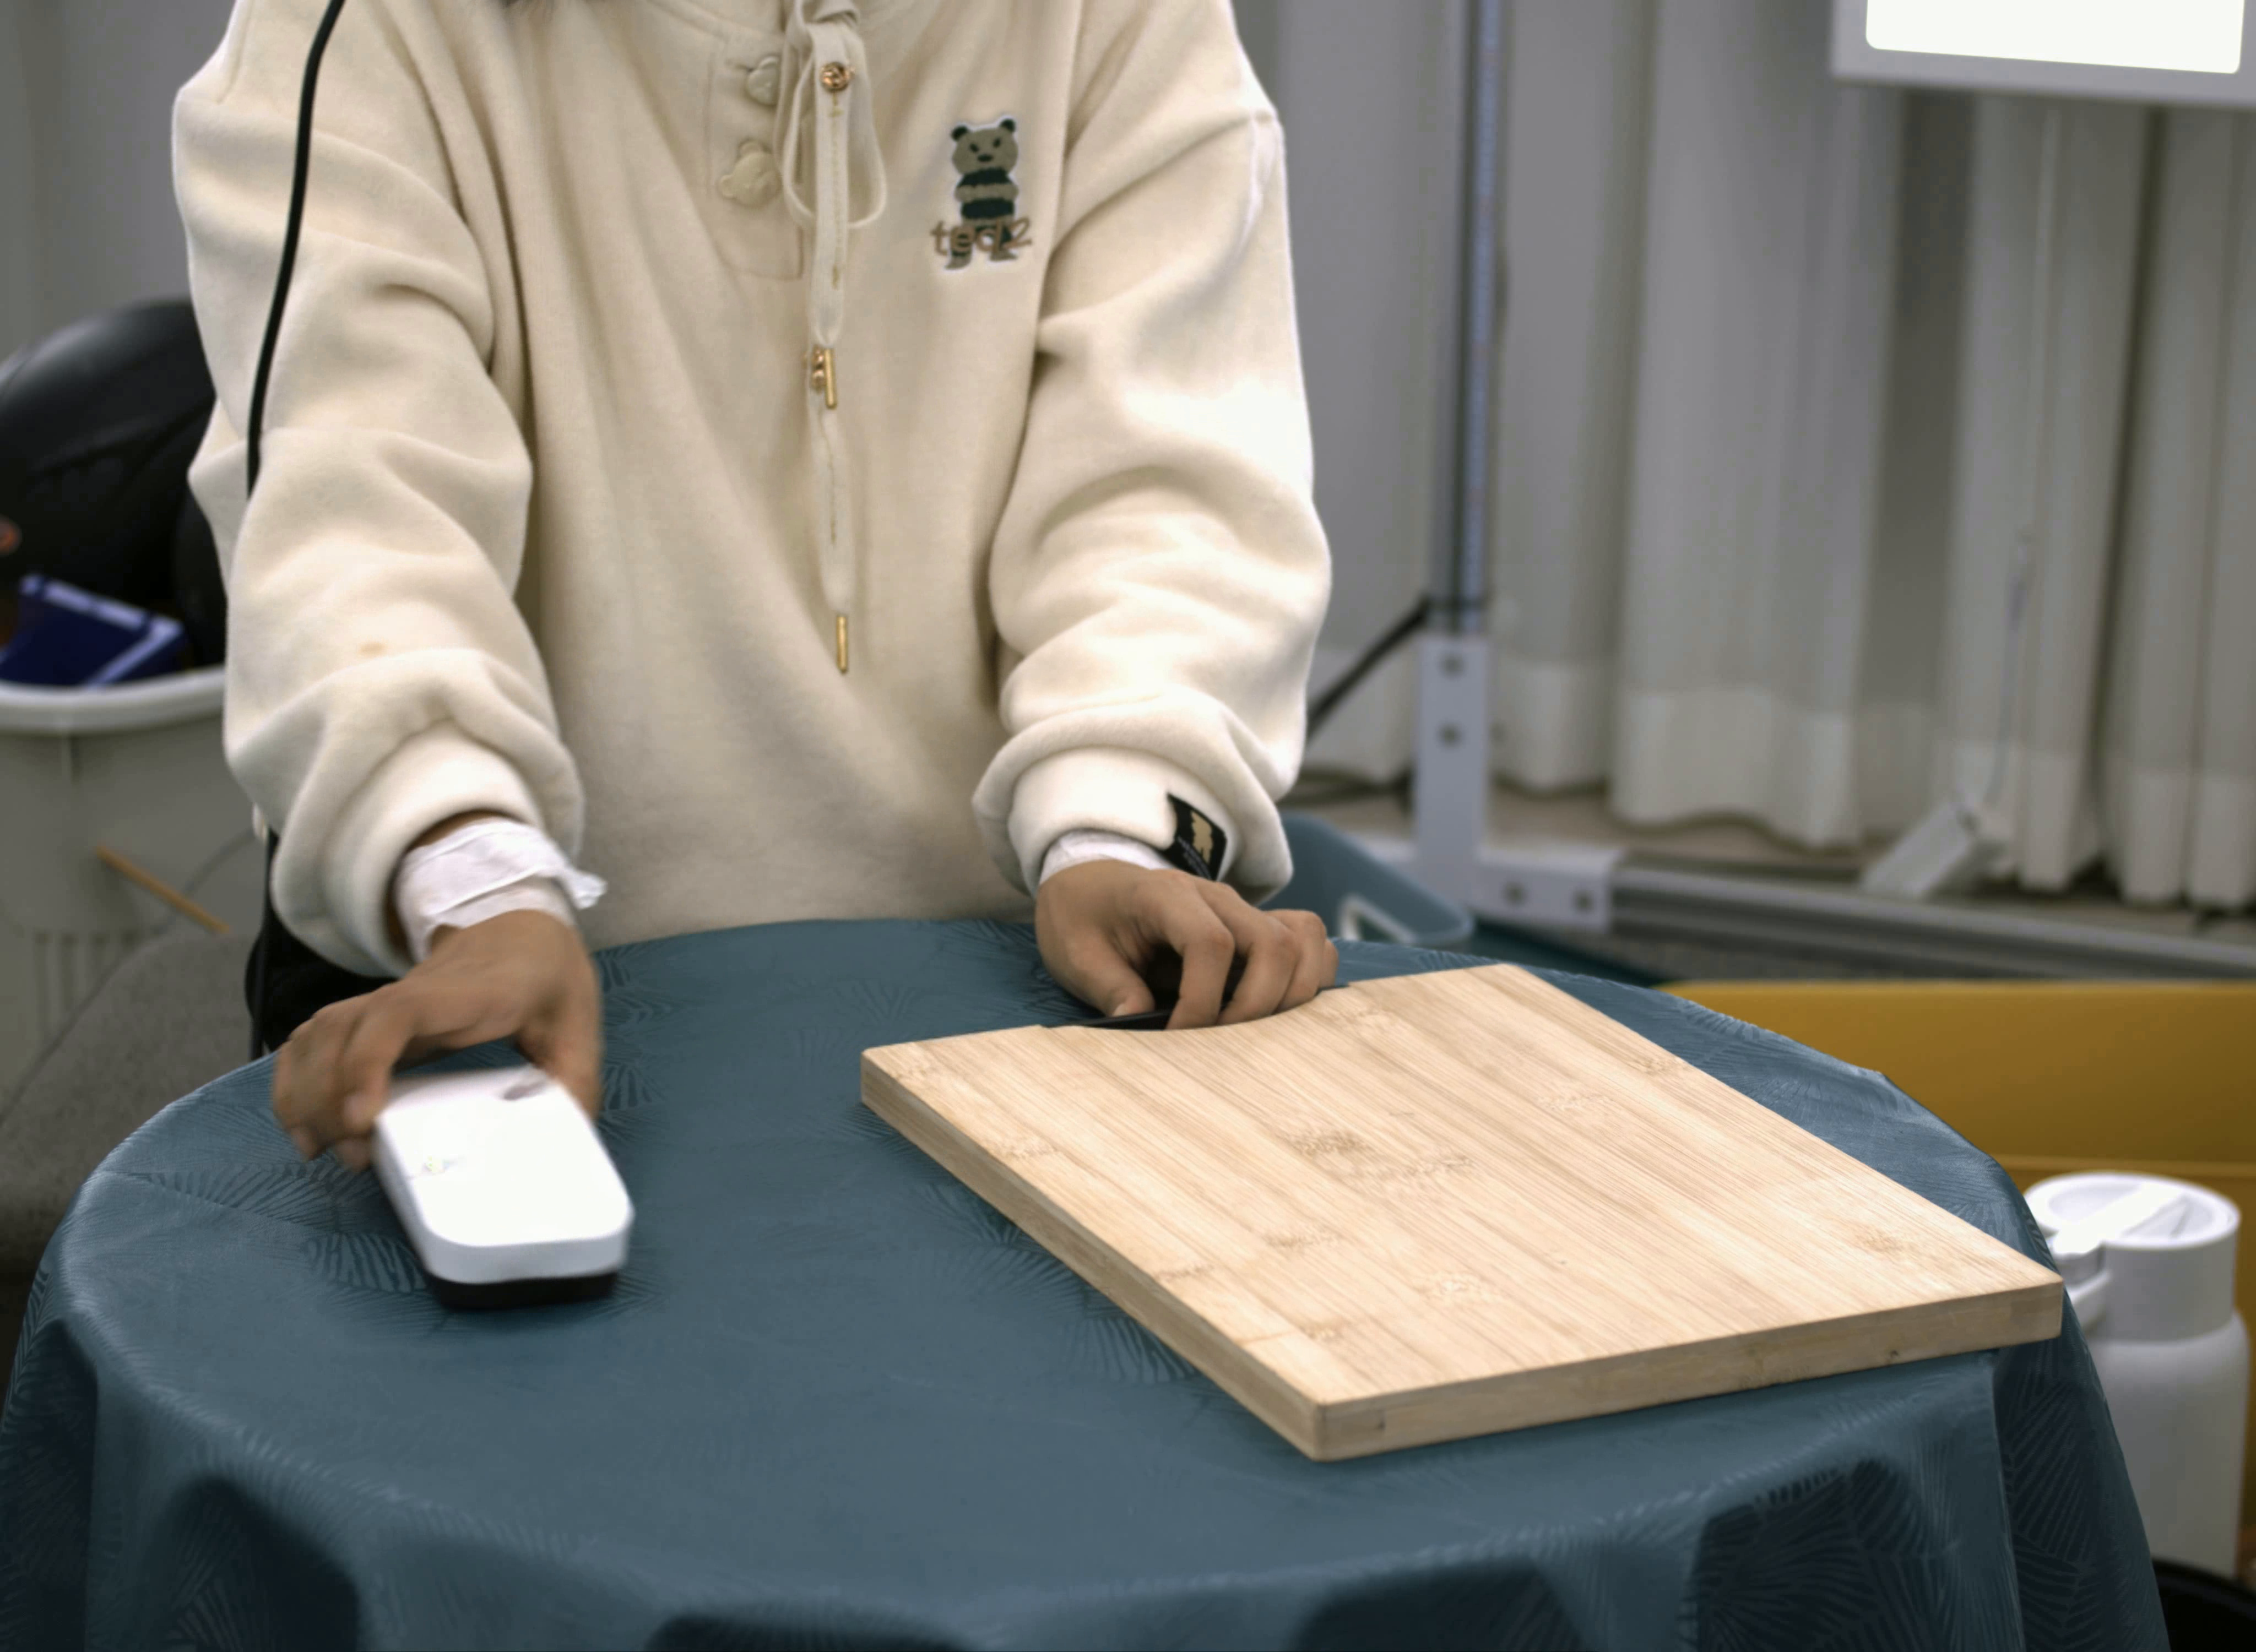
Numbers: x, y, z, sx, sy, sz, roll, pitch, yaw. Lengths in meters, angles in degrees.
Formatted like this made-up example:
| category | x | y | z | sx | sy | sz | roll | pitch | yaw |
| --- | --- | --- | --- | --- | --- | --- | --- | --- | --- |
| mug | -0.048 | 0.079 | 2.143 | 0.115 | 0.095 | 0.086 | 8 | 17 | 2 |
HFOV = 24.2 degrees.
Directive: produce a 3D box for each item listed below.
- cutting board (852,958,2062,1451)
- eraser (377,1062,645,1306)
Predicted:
| category | x | y | z | sx | sy | sz | roll | pitch | yaw |
| --- | --- | --- | --- | --- | --- | --- | --- | --- | --- |
| cutting board | 0.089 | 0.108 | 1.609 | 0.251 | 0.024 | 0.344 | -7 | 17 | -25 |
| eraser | -0.184 | 0.102 | 1.568 | 0.063 | 0.035 | 0.130 | -3 | 21 | -17 |
